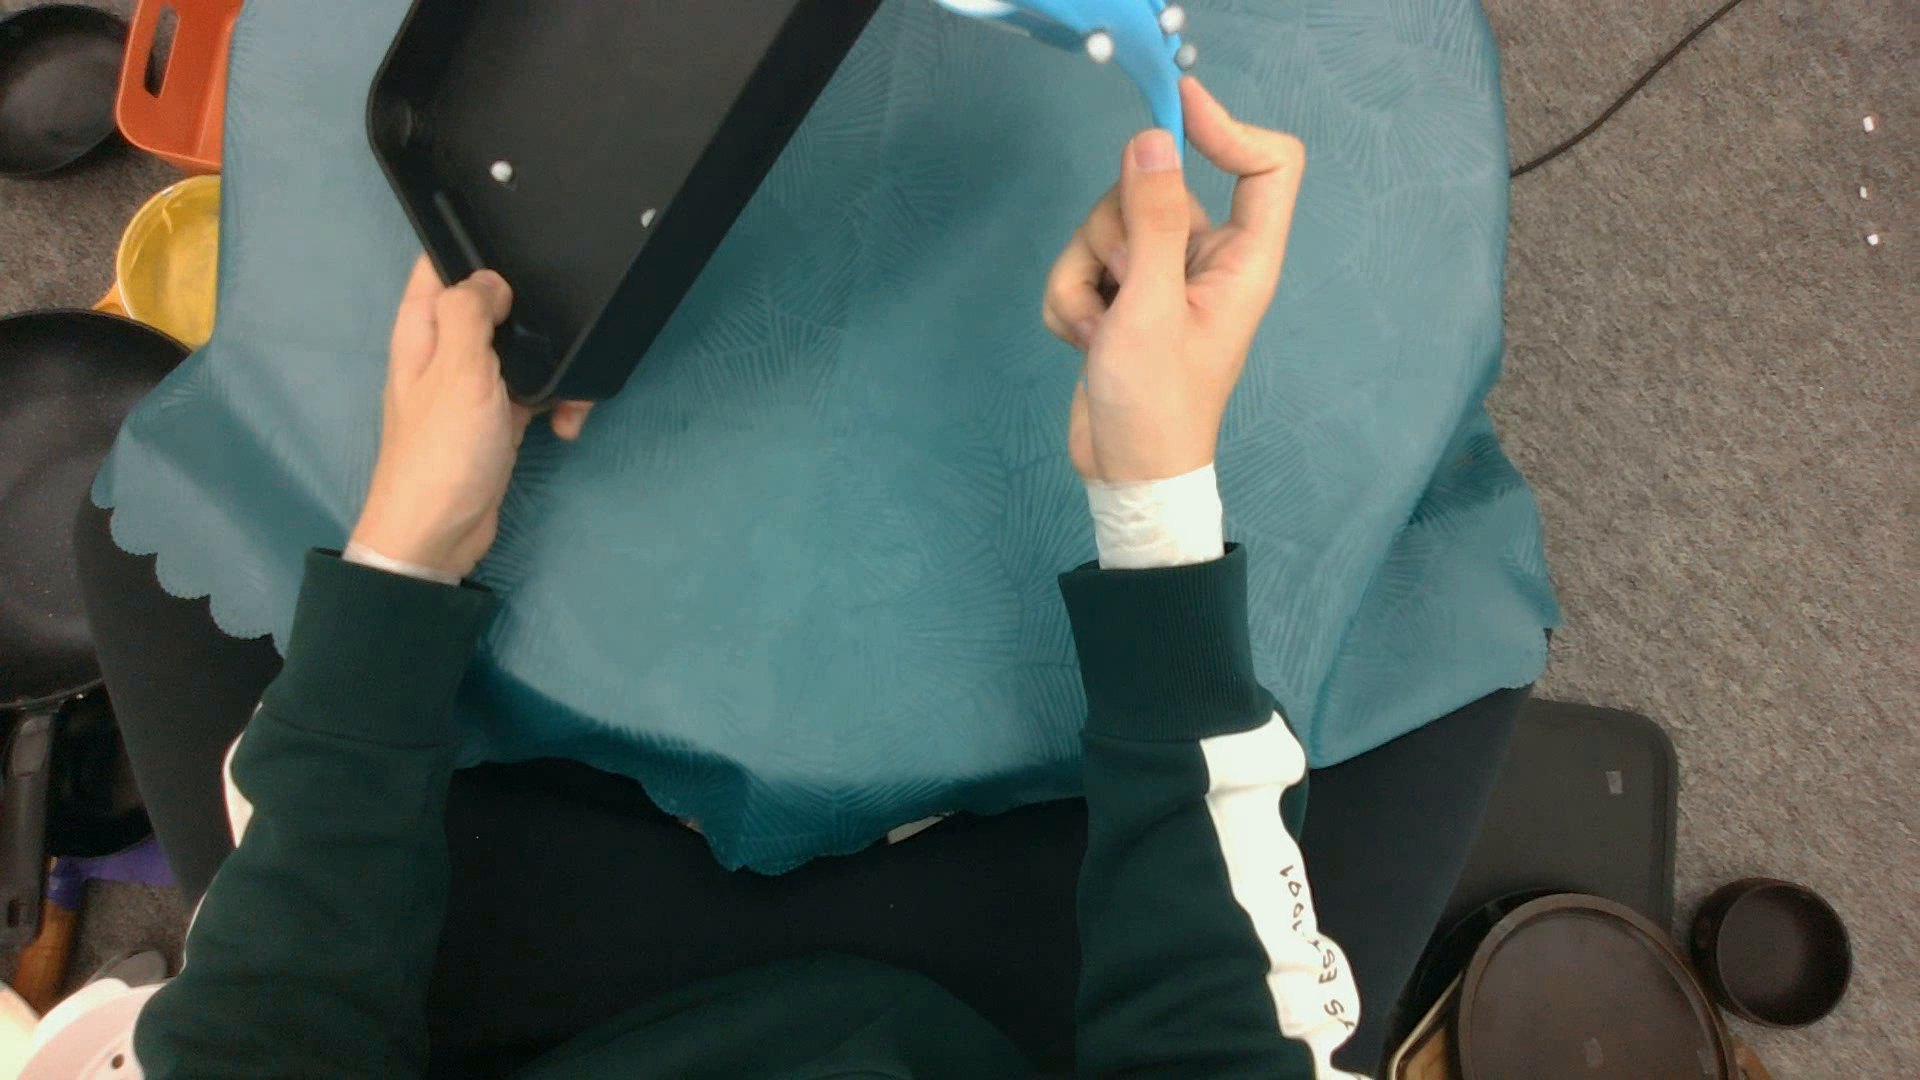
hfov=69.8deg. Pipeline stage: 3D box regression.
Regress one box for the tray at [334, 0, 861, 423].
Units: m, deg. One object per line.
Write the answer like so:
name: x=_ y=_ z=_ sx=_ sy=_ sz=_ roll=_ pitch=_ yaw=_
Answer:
tray: x=-0.127 y=-0.211 z=0.516 sx=0.316 sy=0.037 sz=0.184 roll=-49 pitch=66 yaw=27

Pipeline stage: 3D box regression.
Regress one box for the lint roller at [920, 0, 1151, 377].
lint roller: x=0.038 y=-0.152 z=0.493 sx=0.068 sy=0.230 sz=0.180 roll=-17 pitch=106 yaw=14
